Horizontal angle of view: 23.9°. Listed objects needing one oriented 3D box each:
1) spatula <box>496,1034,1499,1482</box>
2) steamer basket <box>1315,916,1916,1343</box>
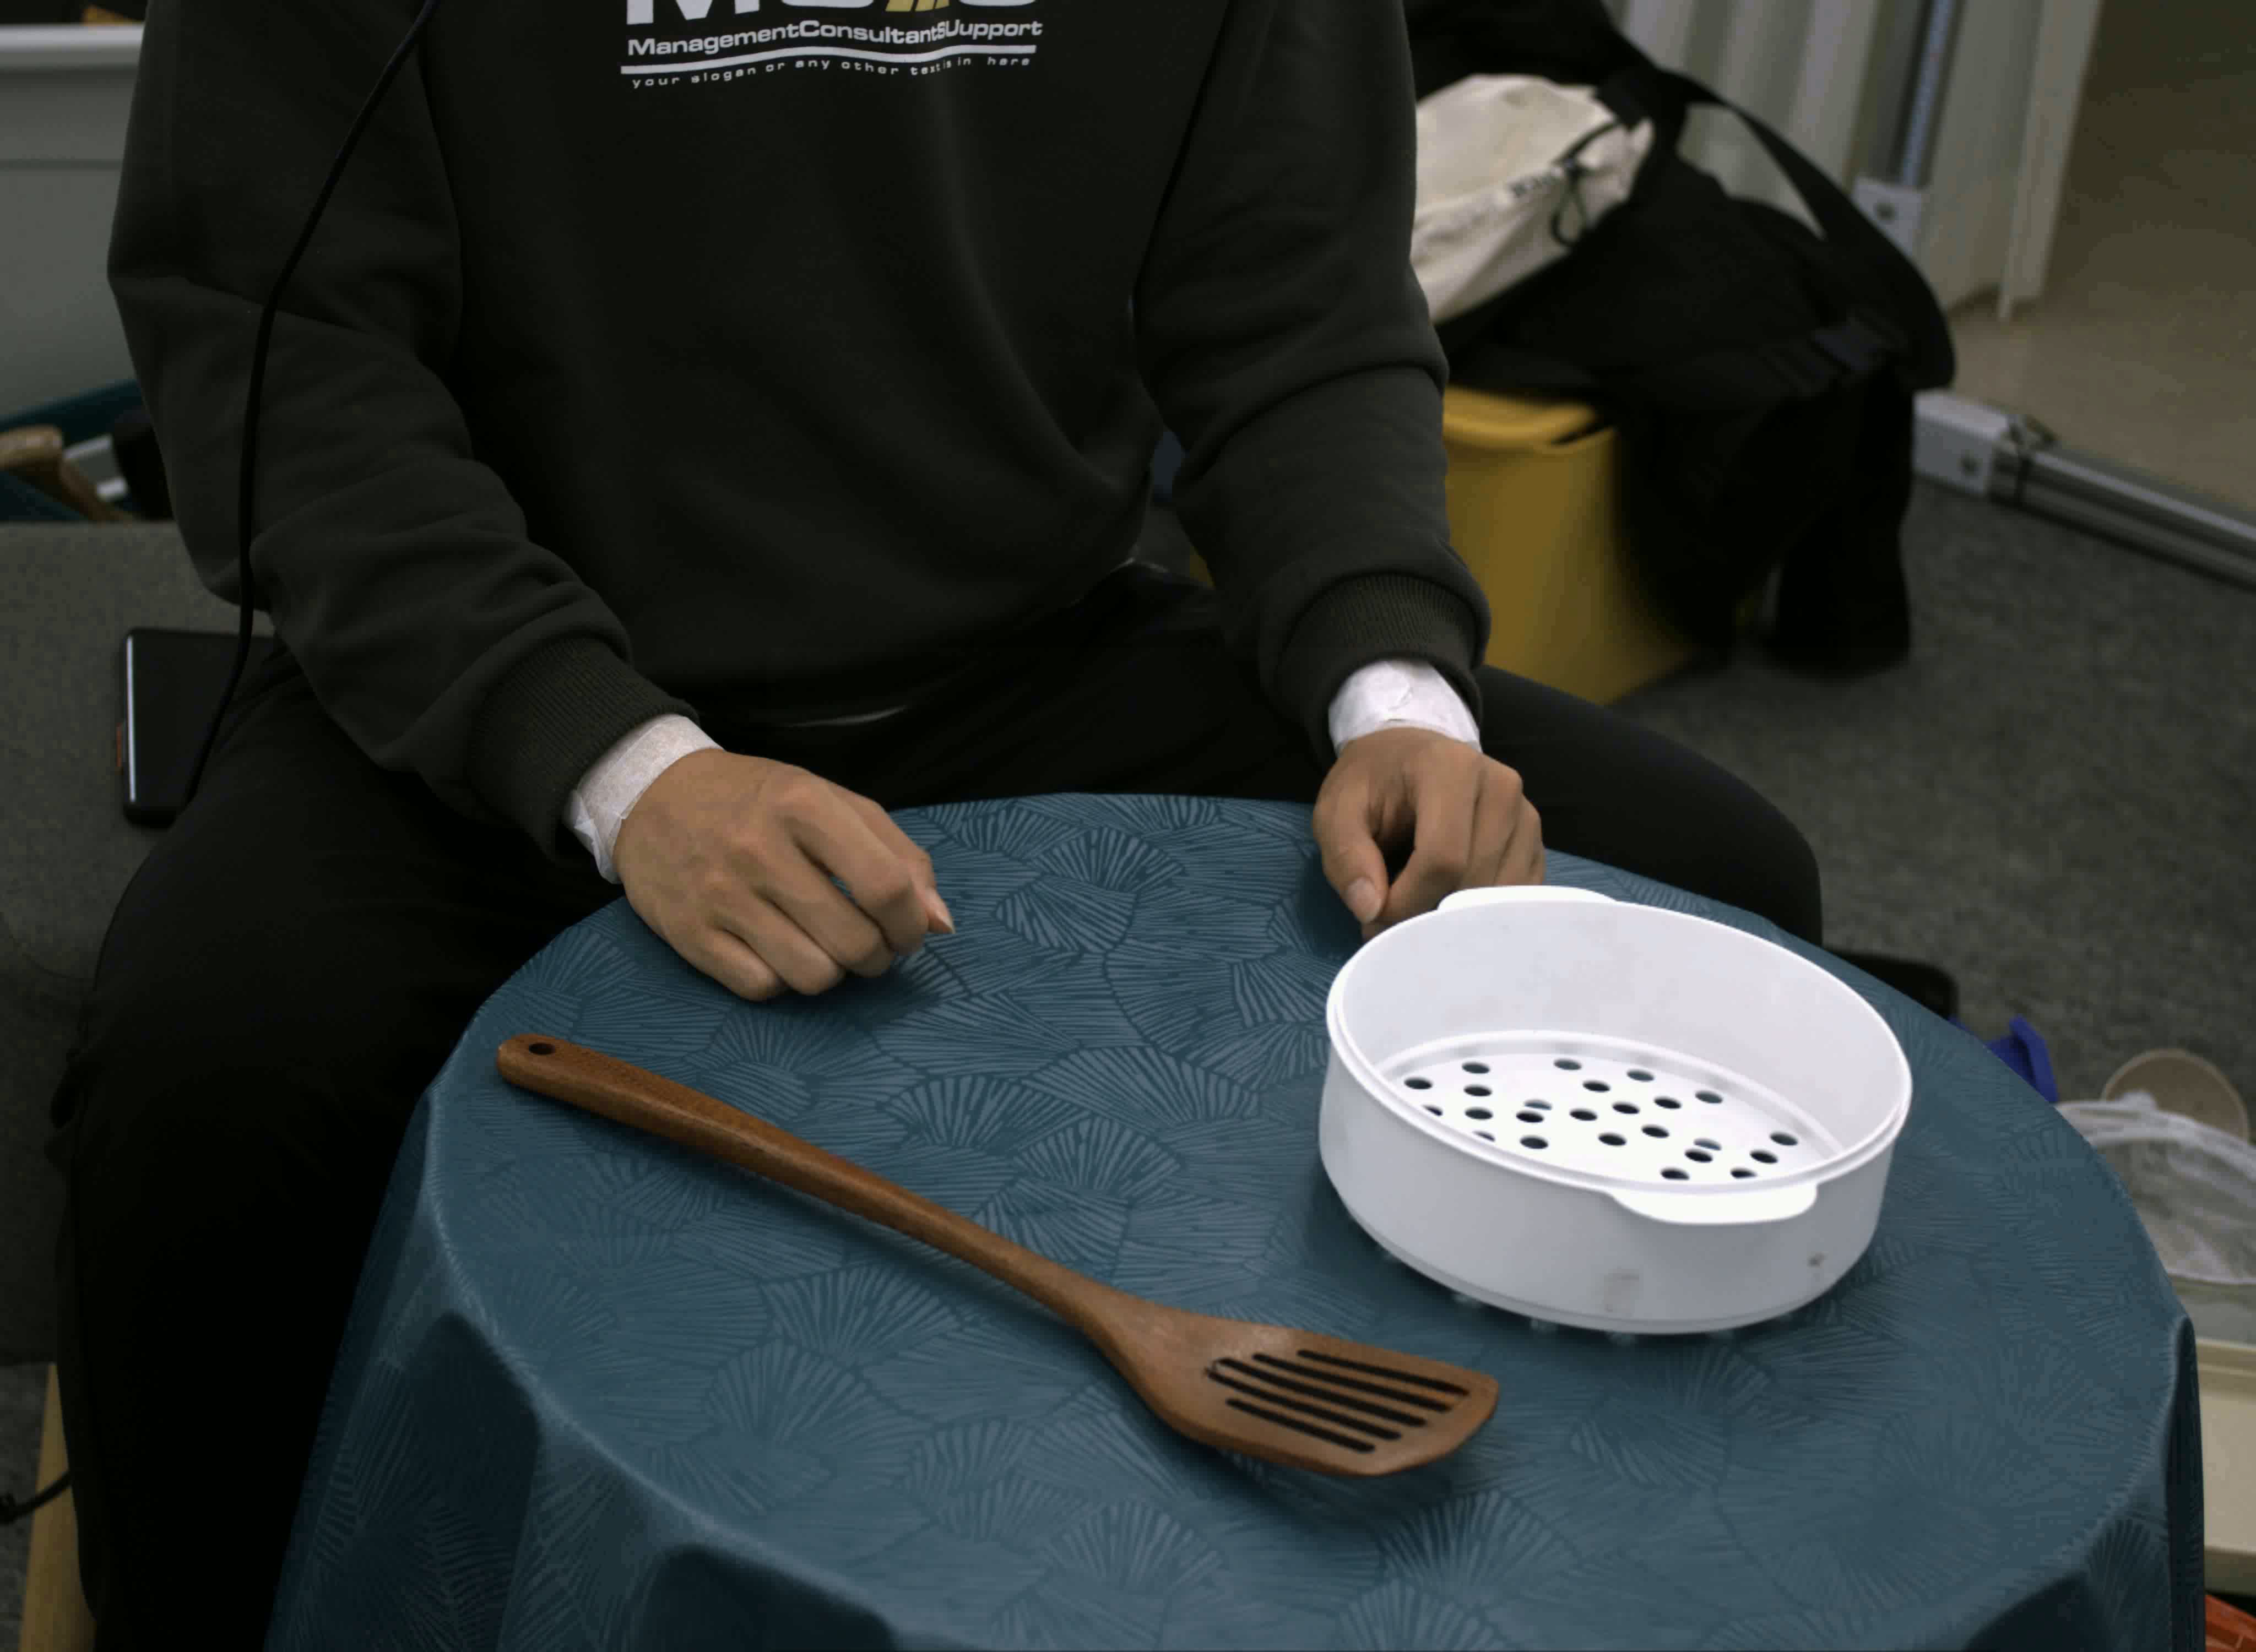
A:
[{"bbox_3d":[-0.057,0.138,1.741,0.387,0.023,0.085,21,27,29],"label":"spatula"},{"bbox_3d":[0.164,0.104,1.813,0.200,0.069,0.232,1,24,-16],"label":"steamer basket"}]
